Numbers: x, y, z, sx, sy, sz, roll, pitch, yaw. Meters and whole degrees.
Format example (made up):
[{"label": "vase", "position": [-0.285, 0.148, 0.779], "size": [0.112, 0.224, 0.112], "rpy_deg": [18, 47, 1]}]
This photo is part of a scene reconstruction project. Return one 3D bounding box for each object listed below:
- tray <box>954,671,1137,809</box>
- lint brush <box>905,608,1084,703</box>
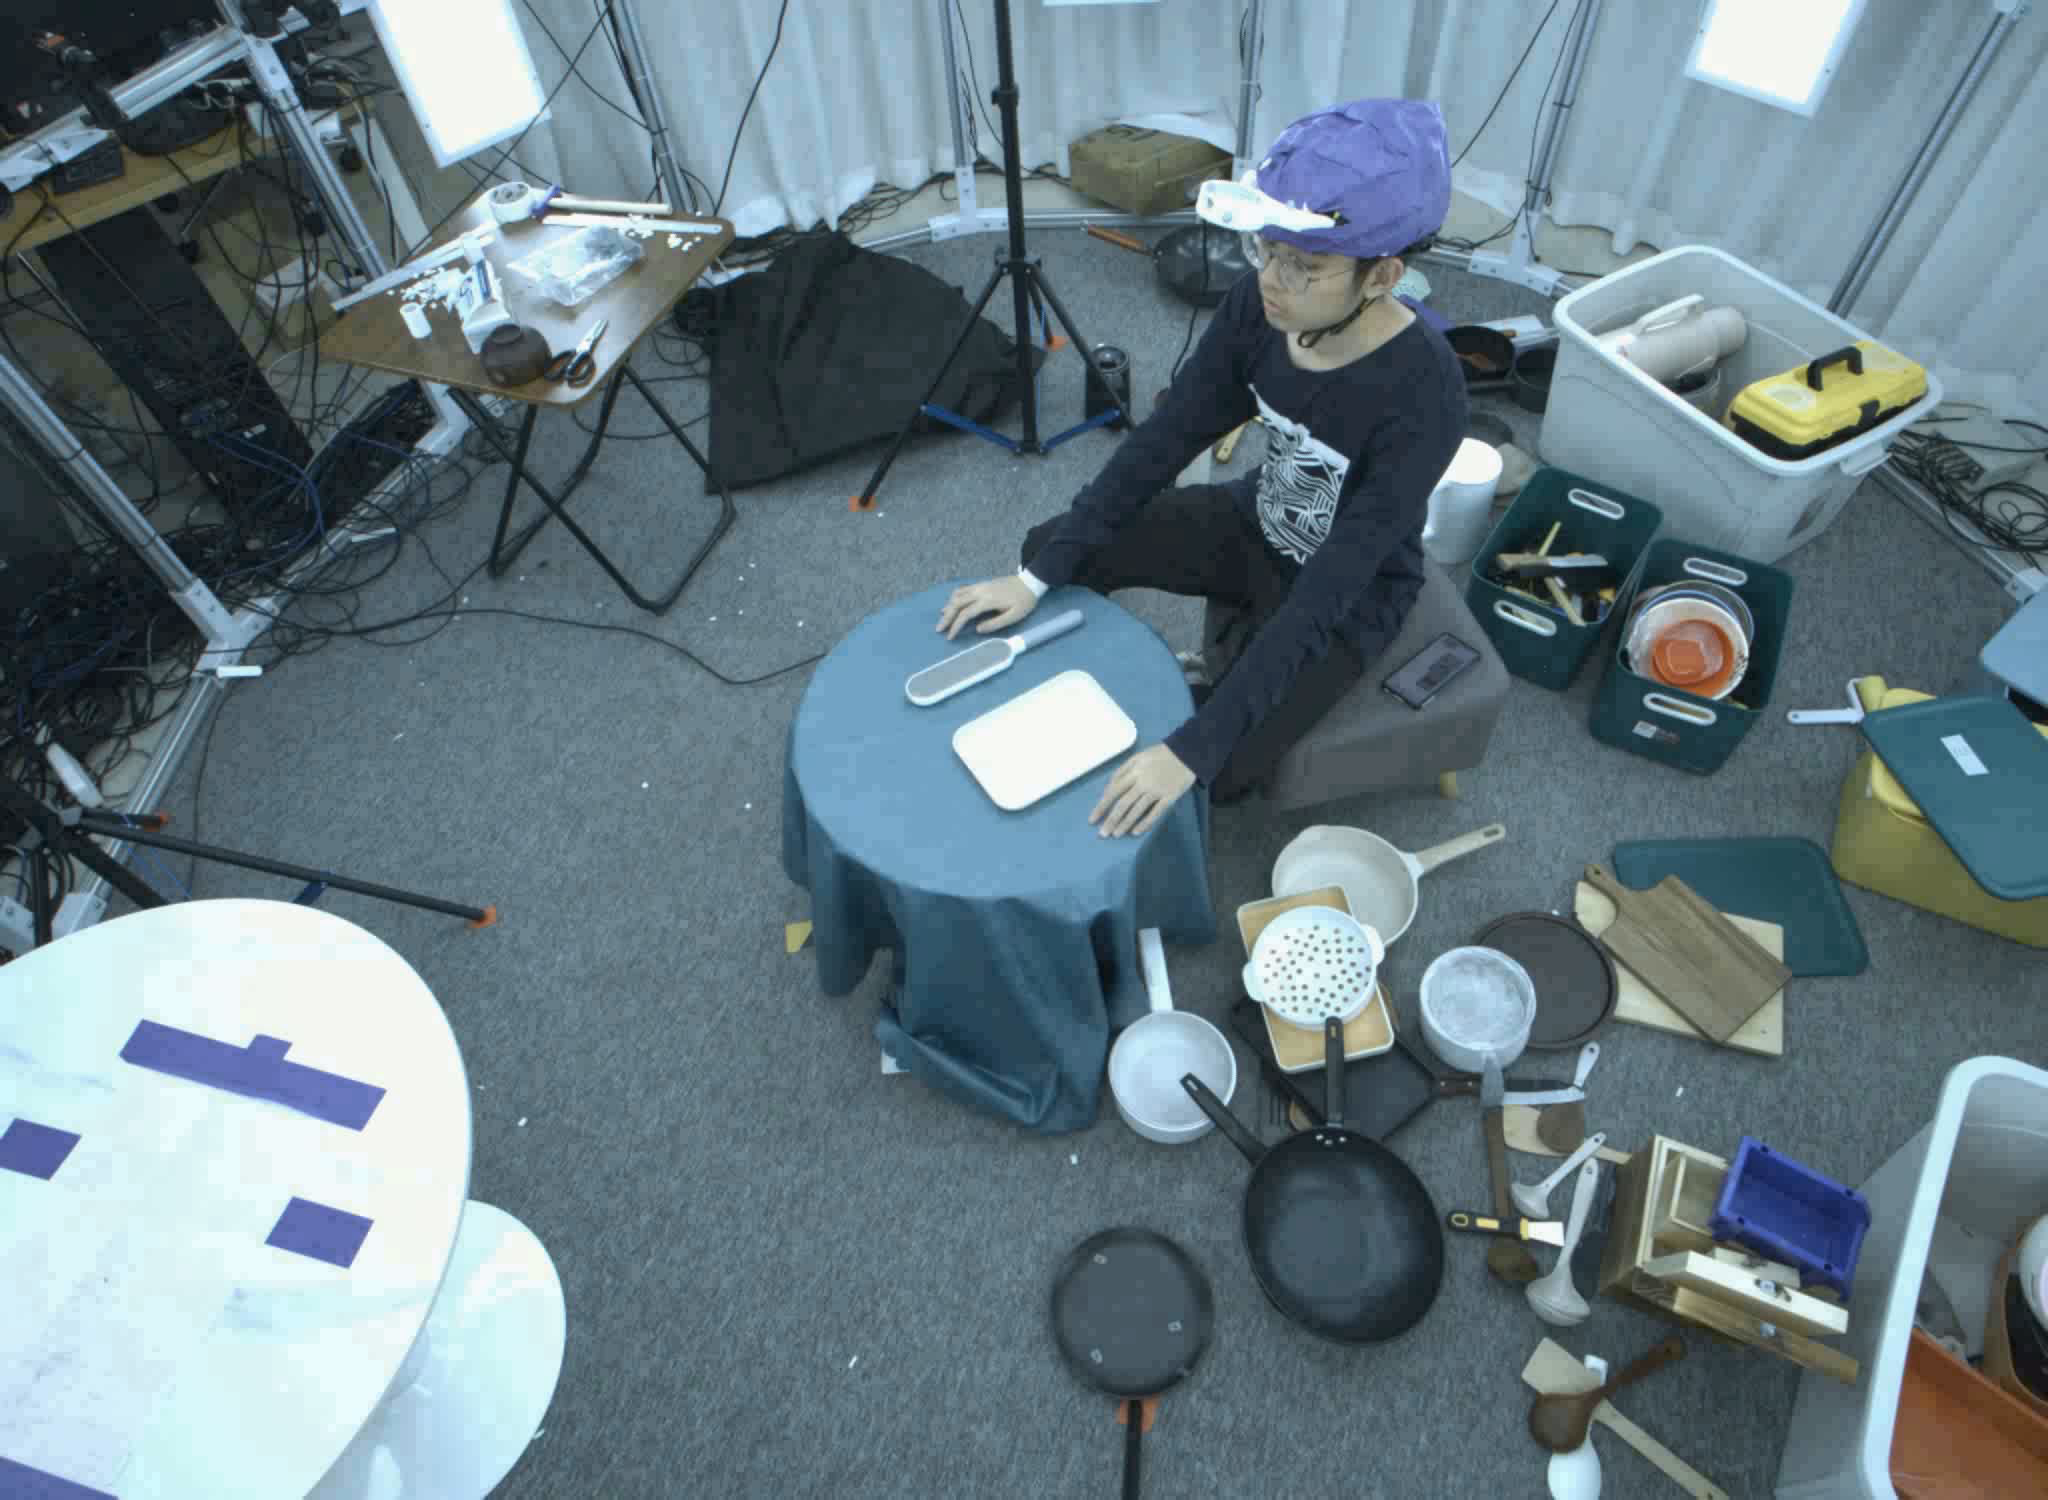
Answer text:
[{"label": "tray", "position": [0.031, -0.016, 1.795], "size": [0.241, 0.017, 0.168], "rpy_deg": [-29, 58, -18]}, {"label": "lint brush", "position": [-0.042, -0.148, 1.886], "size": [0.311, 0.021, 0.059], "rpy_deg": [-27, 53, -17]}]
